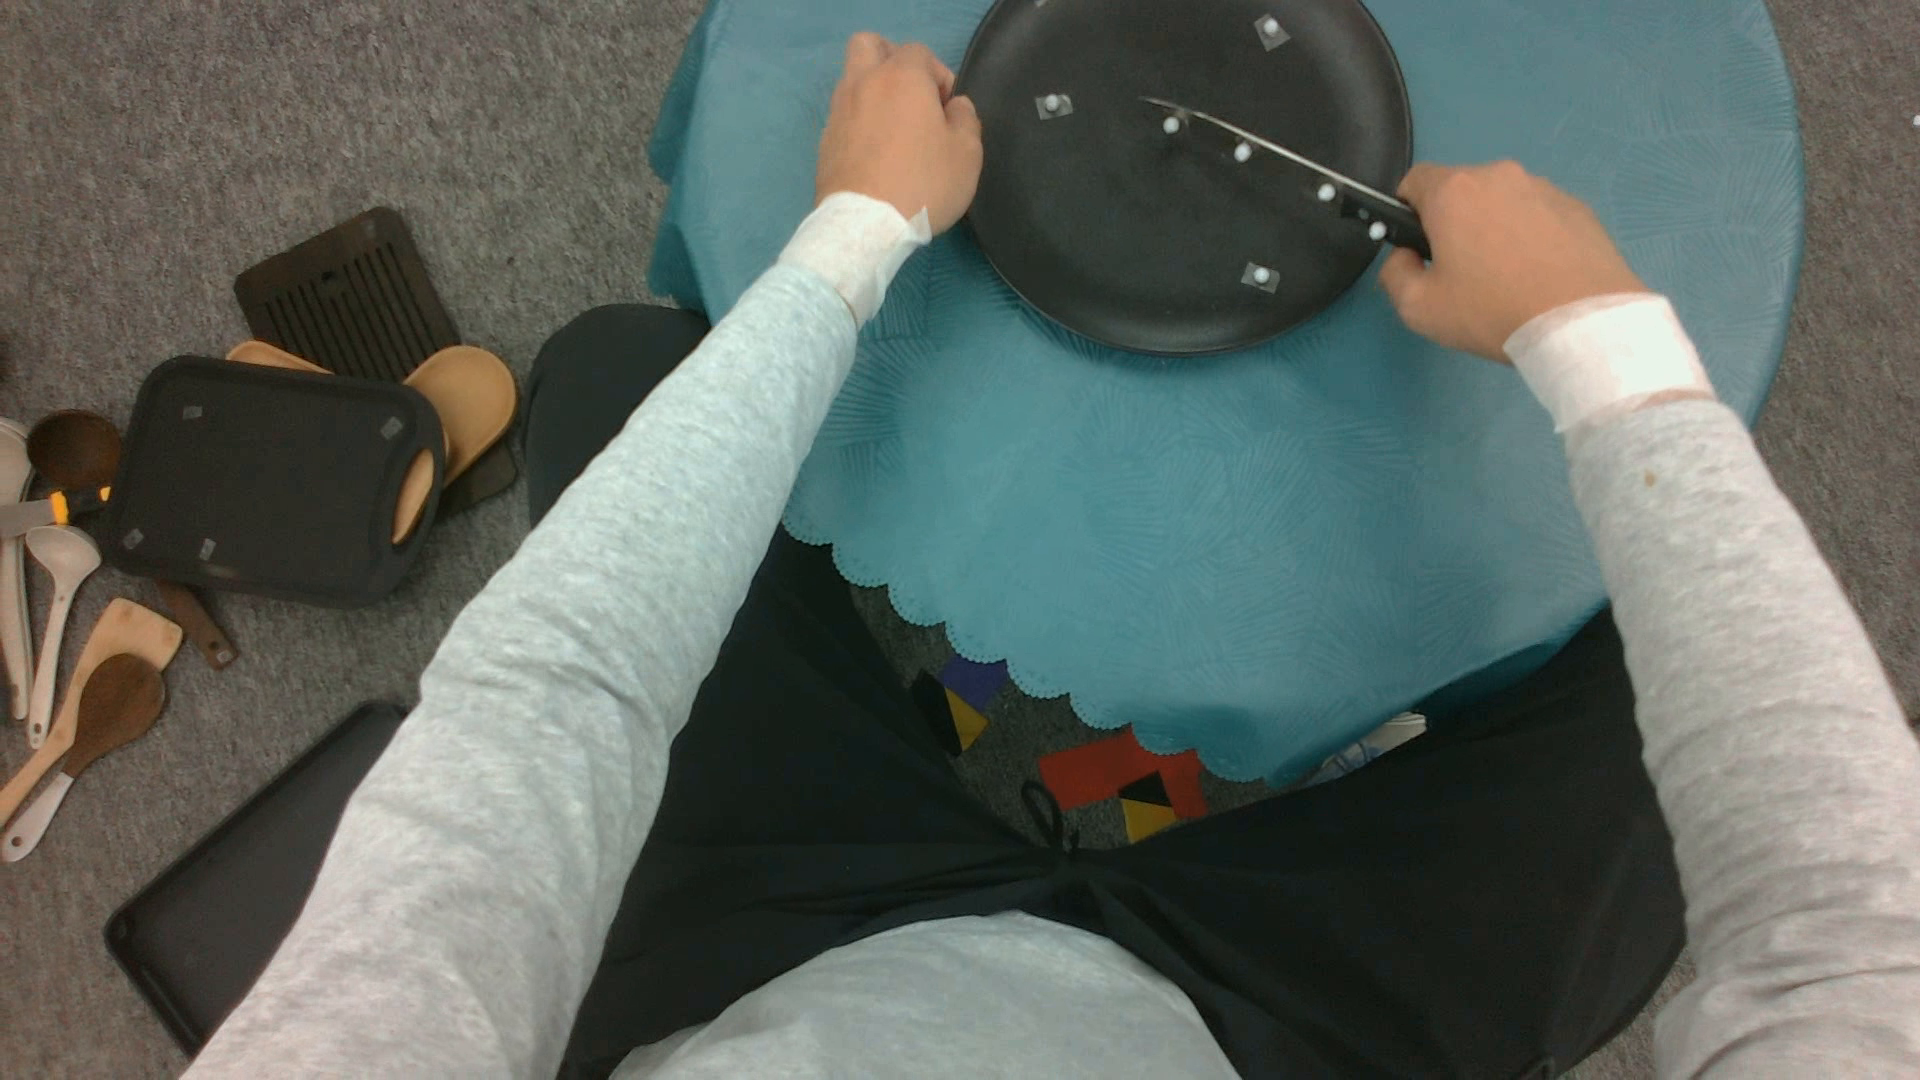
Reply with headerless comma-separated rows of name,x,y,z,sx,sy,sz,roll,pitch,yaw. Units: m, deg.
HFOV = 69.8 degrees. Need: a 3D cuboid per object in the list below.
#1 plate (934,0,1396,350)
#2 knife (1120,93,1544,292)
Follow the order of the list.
plate,0.108,-0.216,0.735,0.244,0.023,0.245,0,80,1
knife,0.176,-0.180,0.680,0.238,0.024,0.016,33,67,24
